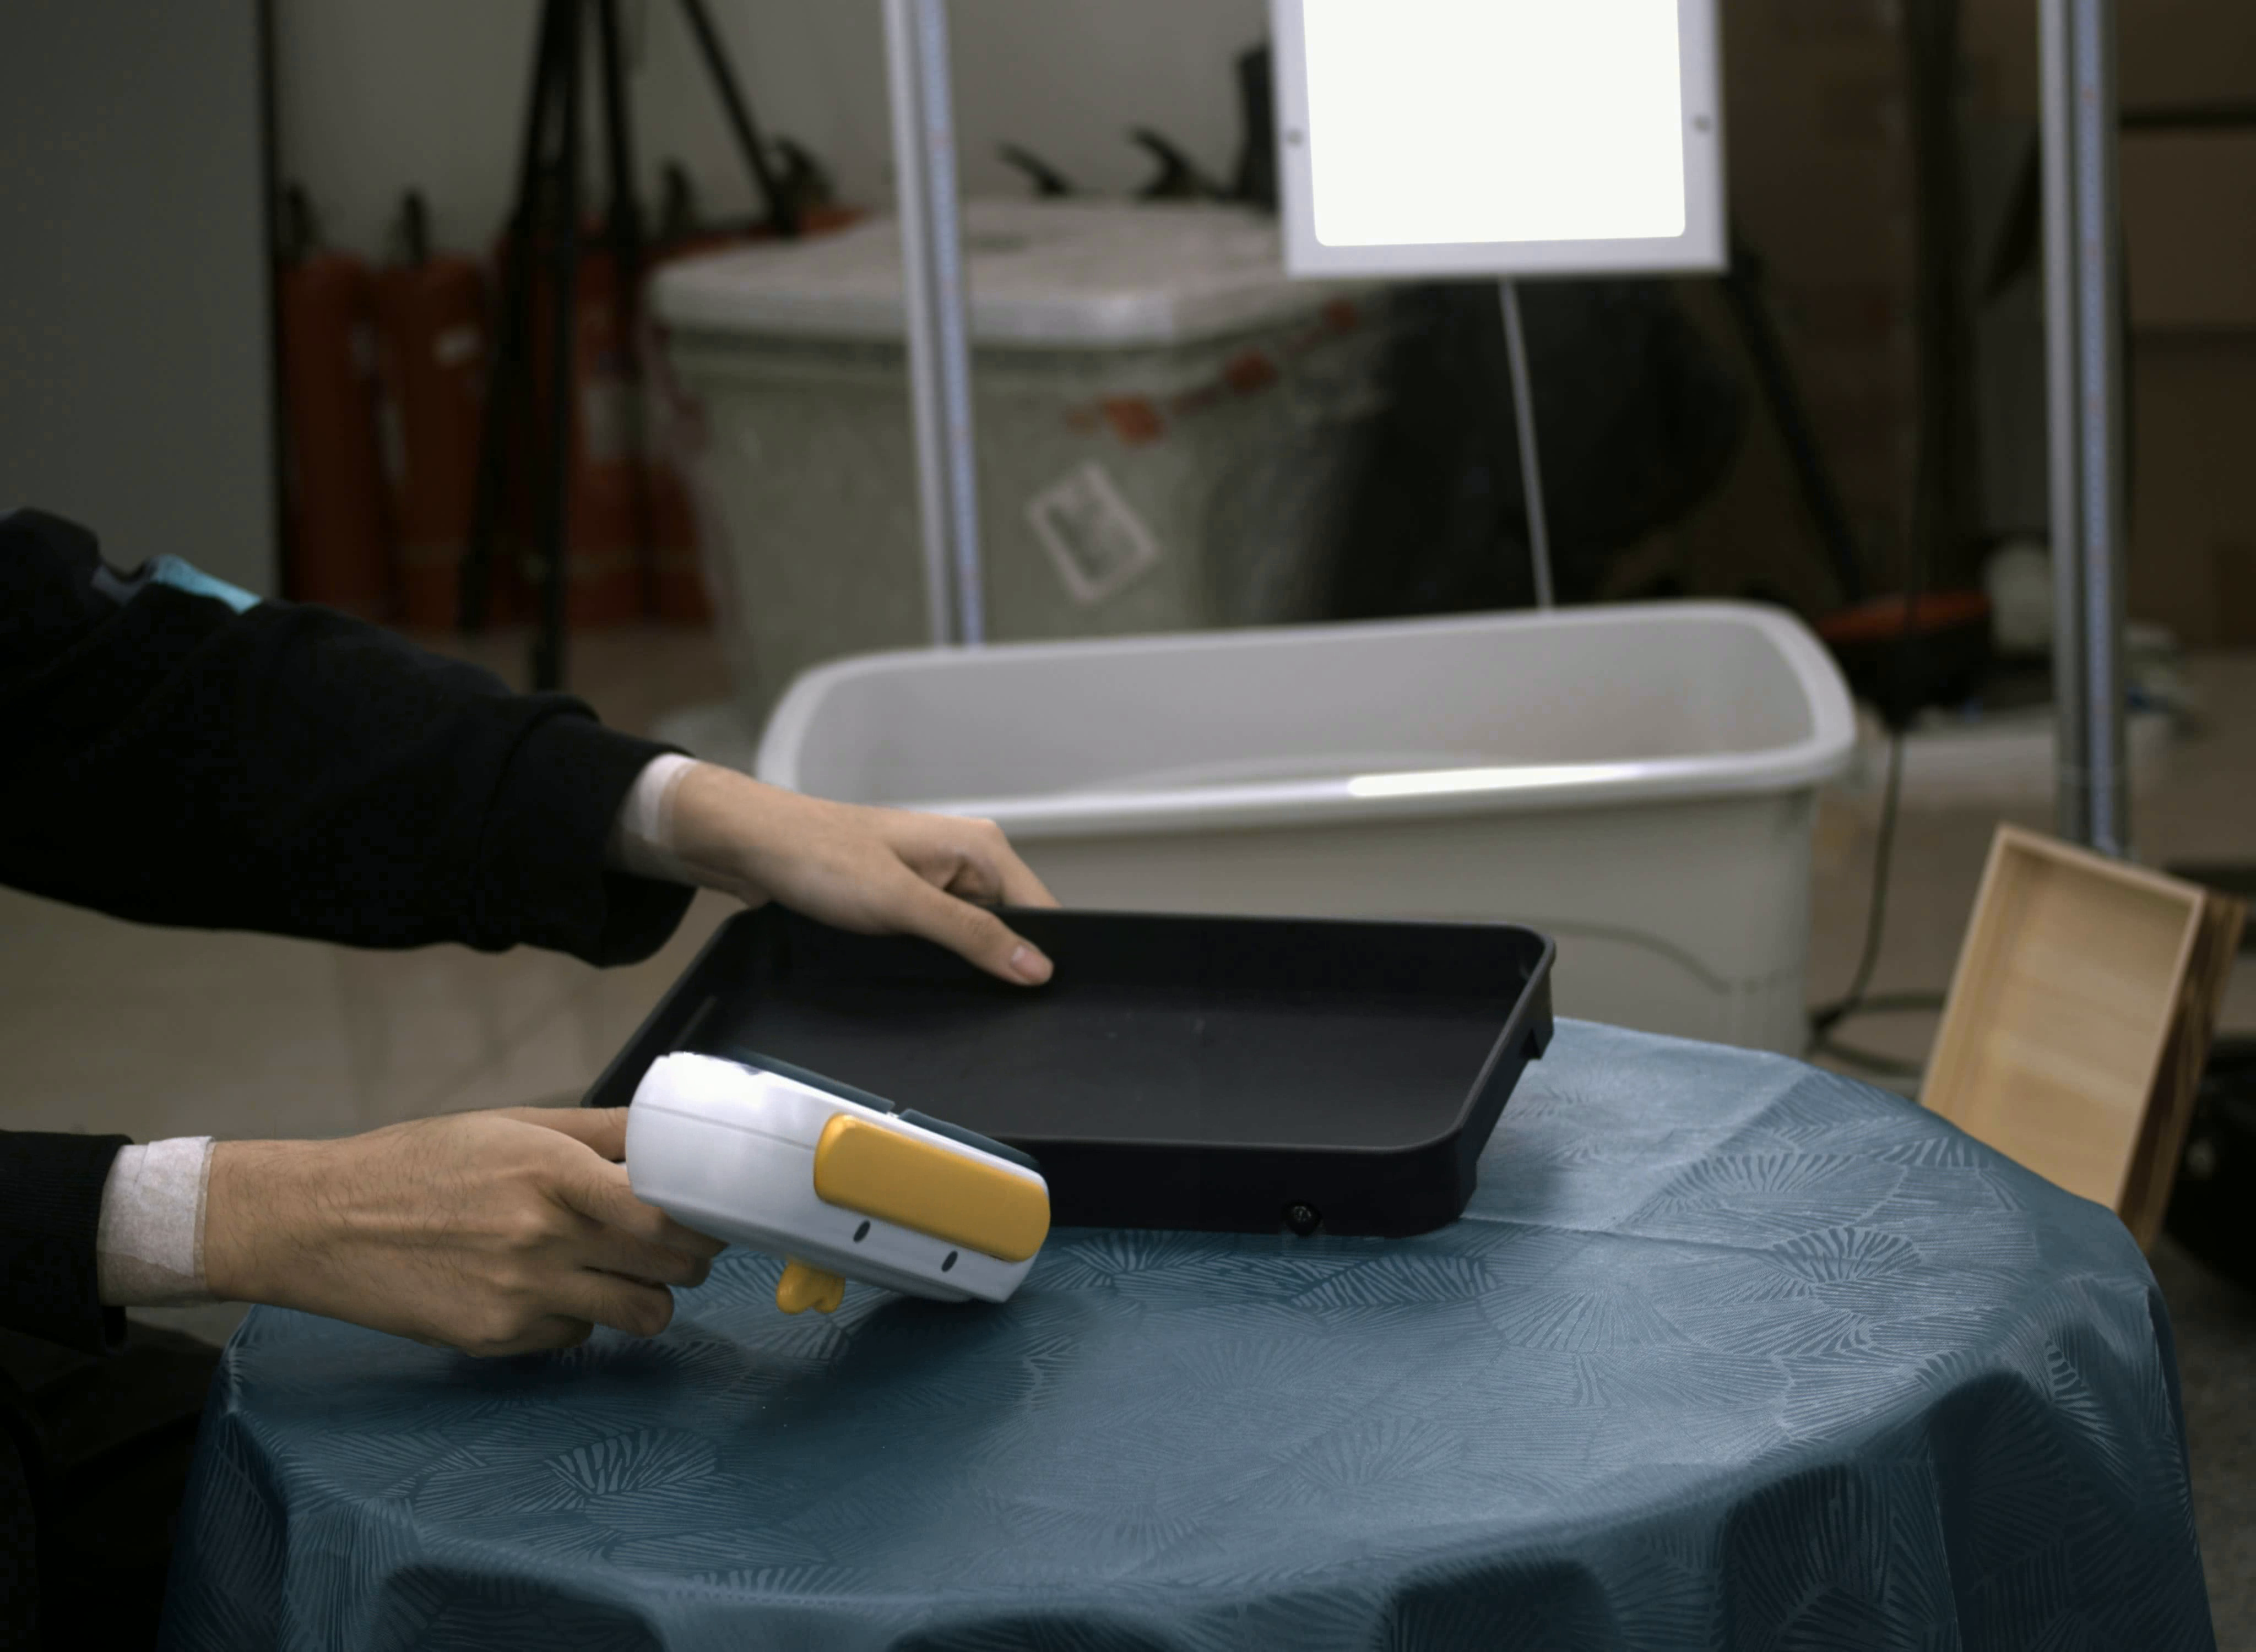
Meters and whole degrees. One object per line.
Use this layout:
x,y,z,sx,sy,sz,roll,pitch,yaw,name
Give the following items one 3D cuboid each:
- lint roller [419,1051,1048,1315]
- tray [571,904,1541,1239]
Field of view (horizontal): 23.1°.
-0.143,0.118,1.758,0.196,0.074,0.189,0,-10,33,lint roller
-0.022,0.084,1.941,0.321,0.037,0.181,1,25,18,tray
